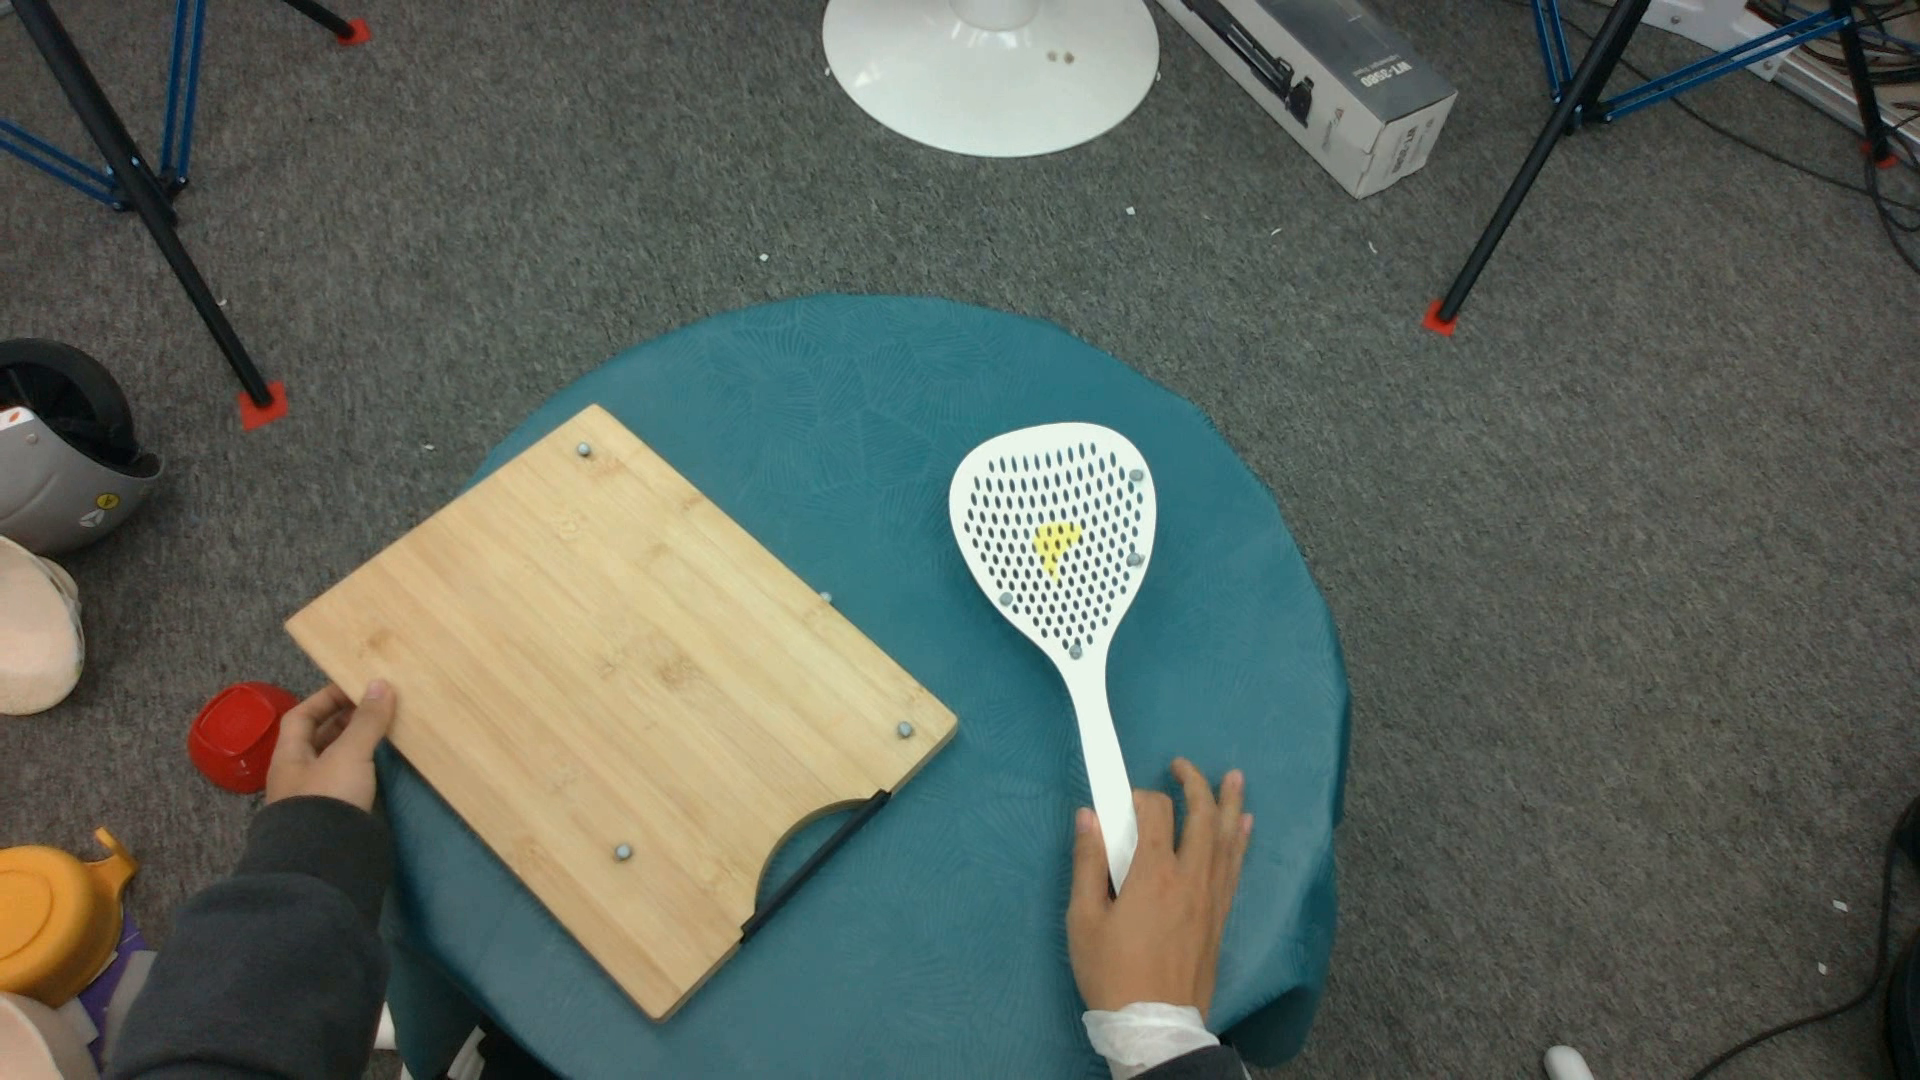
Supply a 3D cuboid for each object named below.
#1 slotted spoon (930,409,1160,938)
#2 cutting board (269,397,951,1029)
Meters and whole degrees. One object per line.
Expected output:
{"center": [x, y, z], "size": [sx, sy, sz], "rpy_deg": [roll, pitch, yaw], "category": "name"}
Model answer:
{"center": [0.068, 0.069, 0.847], "size": [0.137, 0.050, 0.349], "rpy_deg": [-10, 56, -1], "category": "slotted spoon"}
{"center": [-0.211, 0.082, 0.838], "size": [0.349, 0.023, 0.252], "rpy_deg": [38, 63, 17], "category": "cutting board"}
